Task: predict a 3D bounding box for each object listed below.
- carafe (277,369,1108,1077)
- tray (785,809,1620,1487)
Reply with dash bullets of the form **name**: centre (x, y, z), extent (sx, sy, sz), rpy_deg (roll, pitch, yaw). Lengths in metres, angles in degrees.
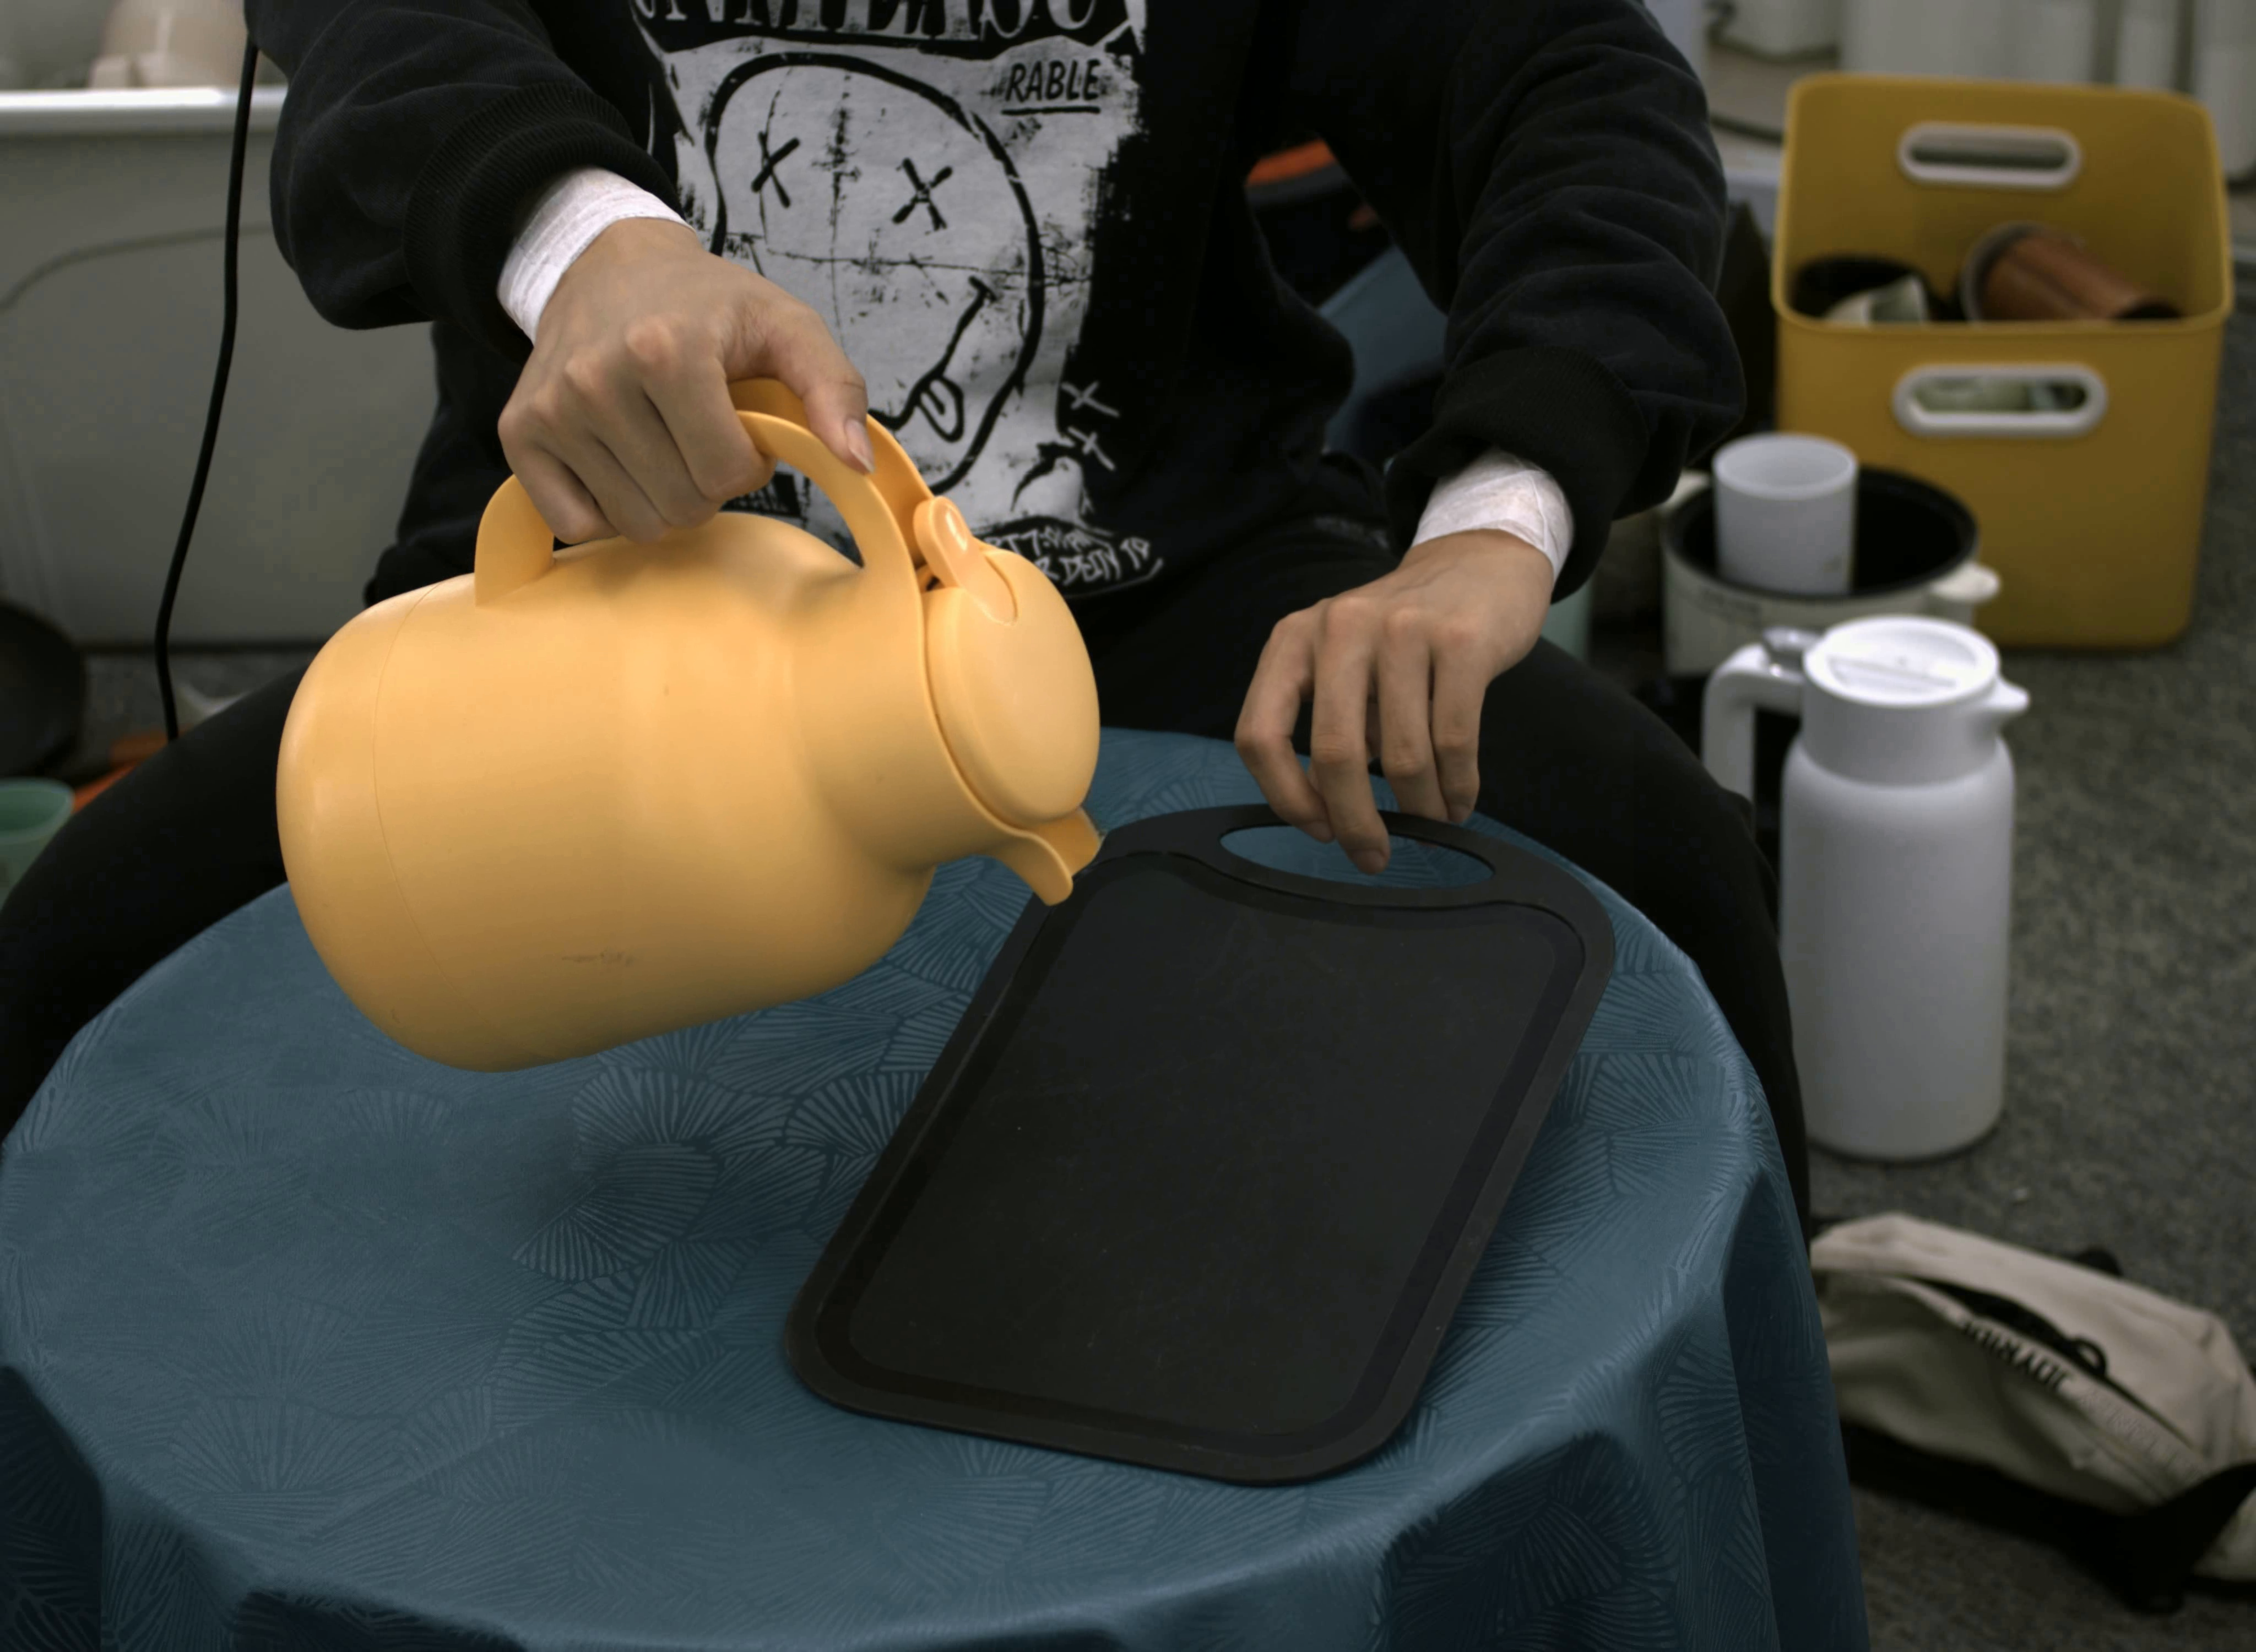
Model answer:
- **carafe**: centre (-0.142, -0.036, 1.802), extent (0.257, 0.201, 0.166), rpy_deg (-15, 19, 24)
- **tray**: centre (0.031, 0.093, 1.844), extent (0.210, 0.009, 0.332), rpy_deg (8, 39, 20)
